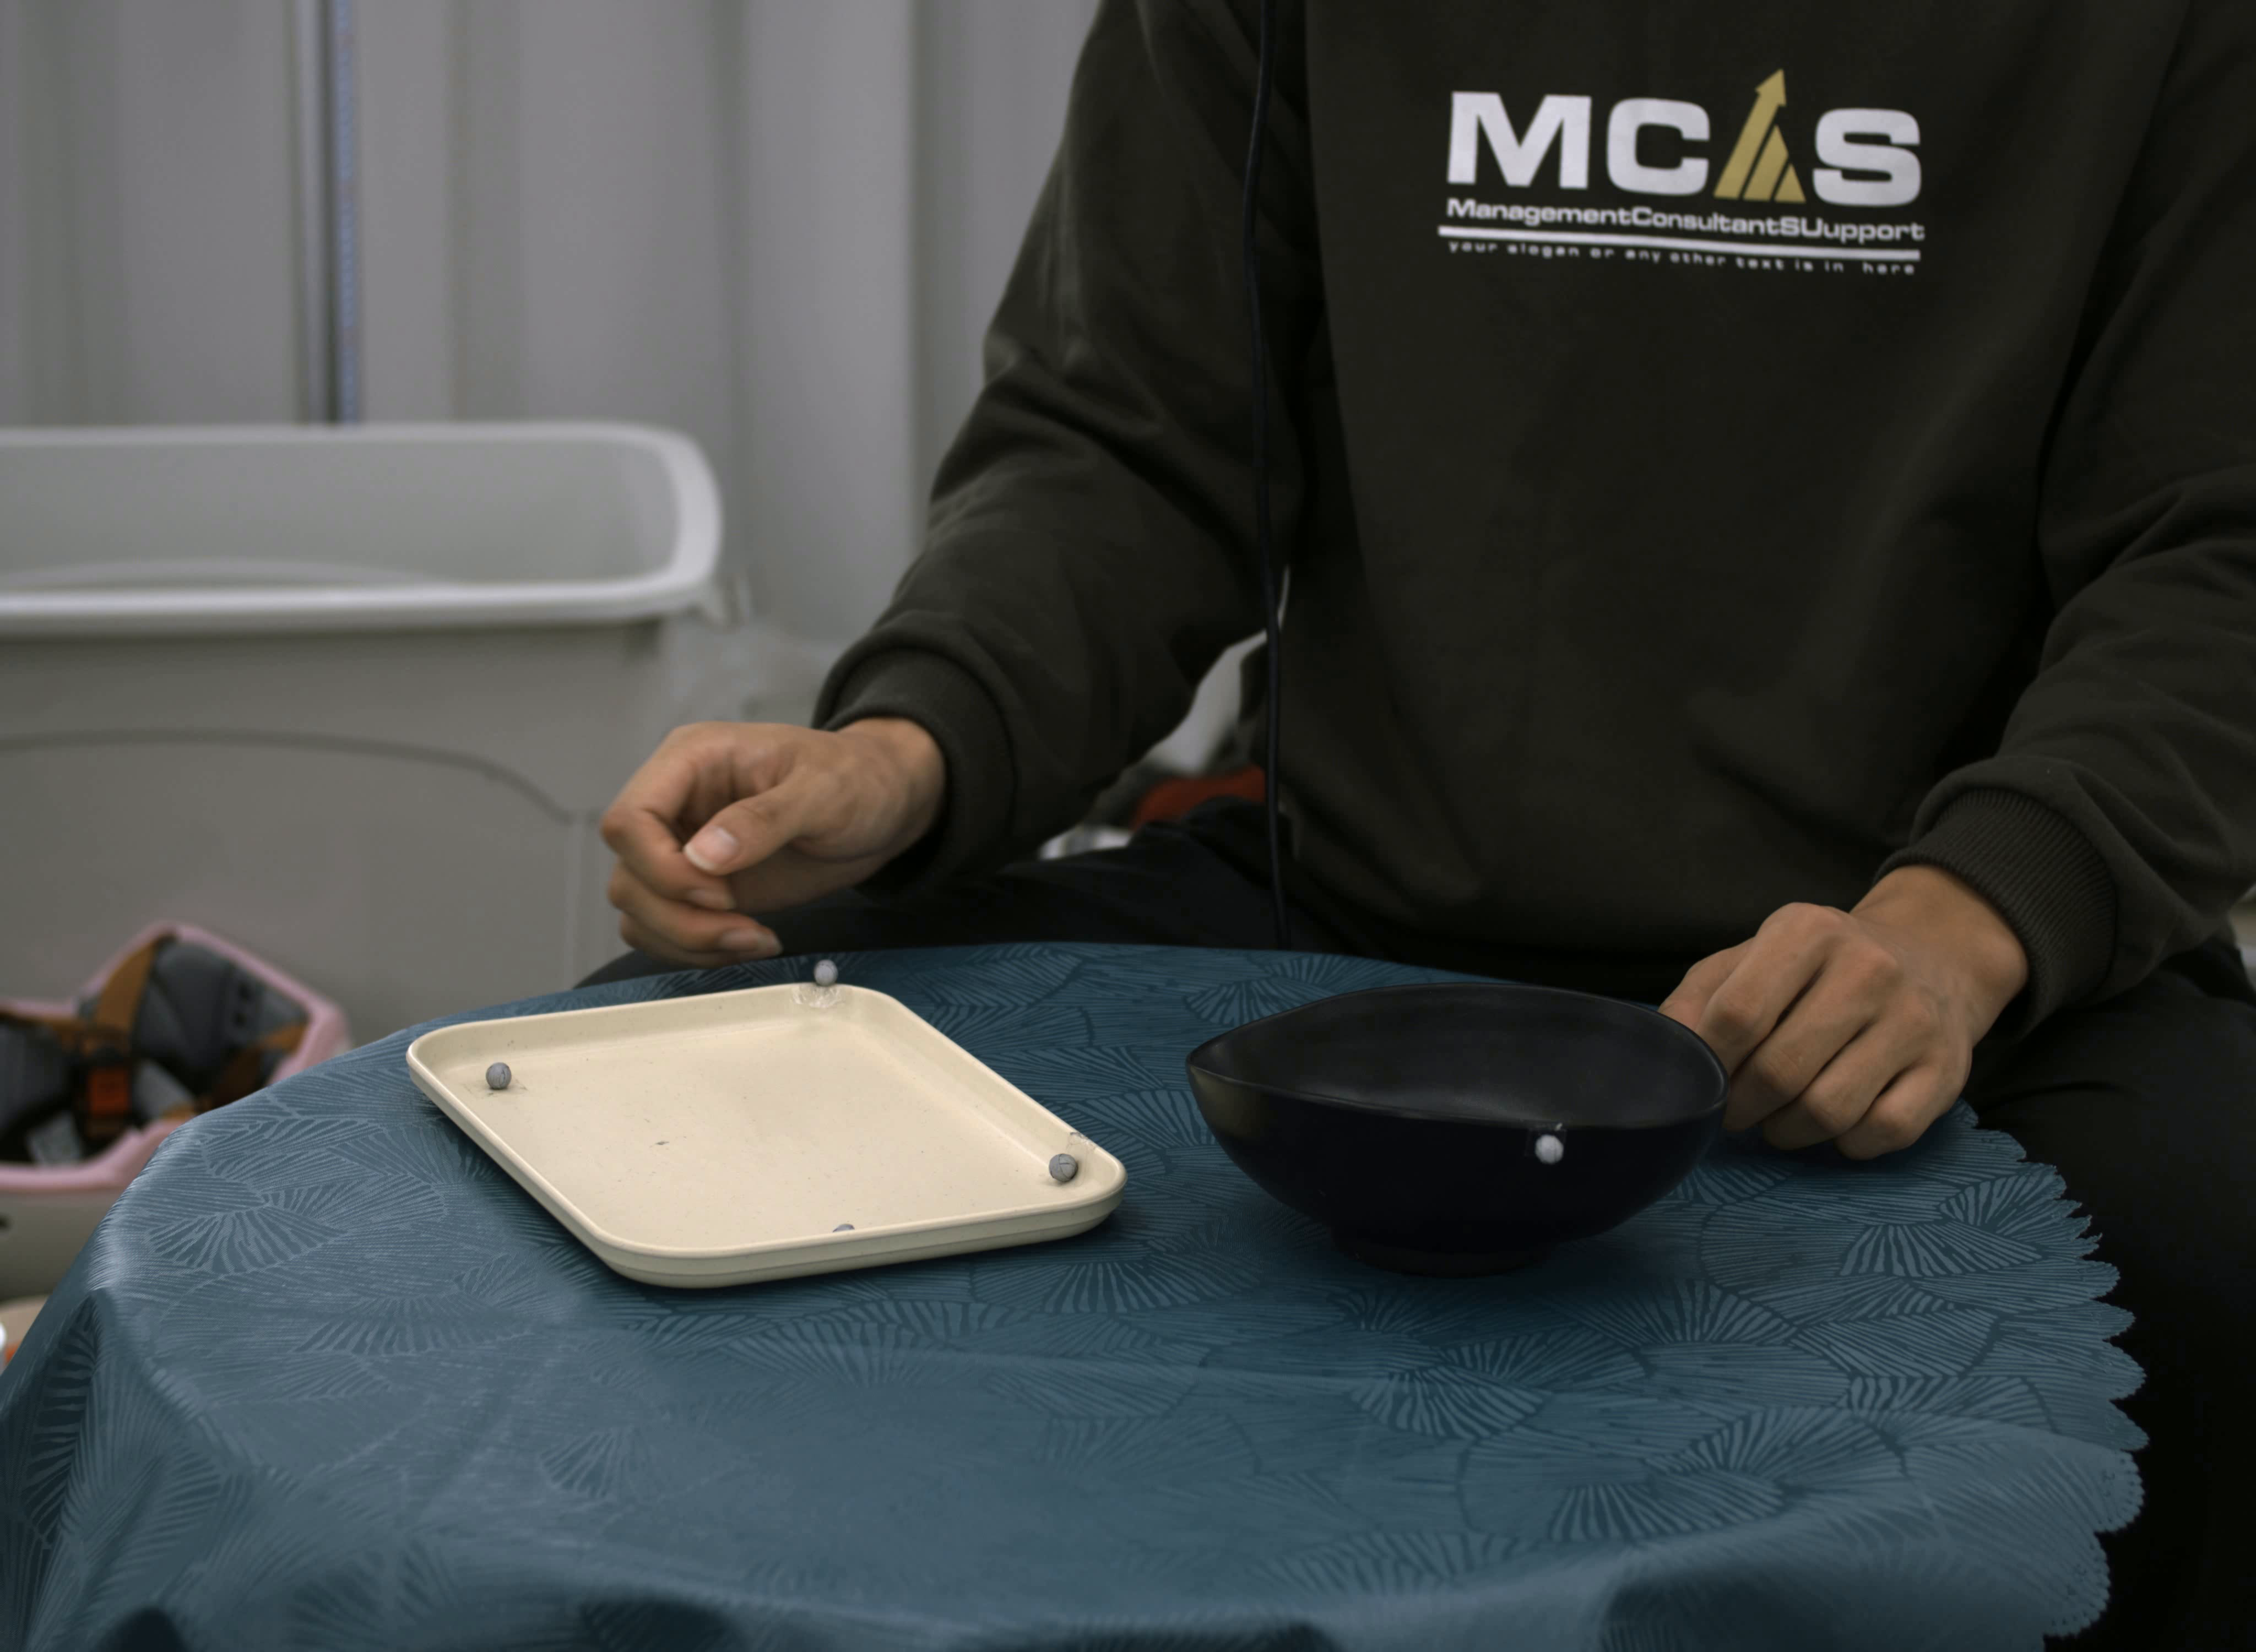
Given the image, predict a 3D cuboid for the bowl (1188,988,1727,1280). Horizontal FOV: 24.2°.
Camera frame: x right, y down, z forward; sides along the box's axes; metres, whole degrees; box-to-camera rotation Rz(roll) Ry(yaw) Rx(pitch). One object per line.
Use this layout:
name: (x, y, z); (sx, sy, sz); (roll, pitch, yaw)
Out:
bowl: (0.096, 0.096, 1.581); (0.168, 0.067, 0.138); (7, 15, 27)

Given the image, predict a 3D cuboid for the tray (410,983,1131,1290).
tray: (-0.115, 0.096, 1.652); (0.172, 0.017, 0.237); (-7, 17, -24)
